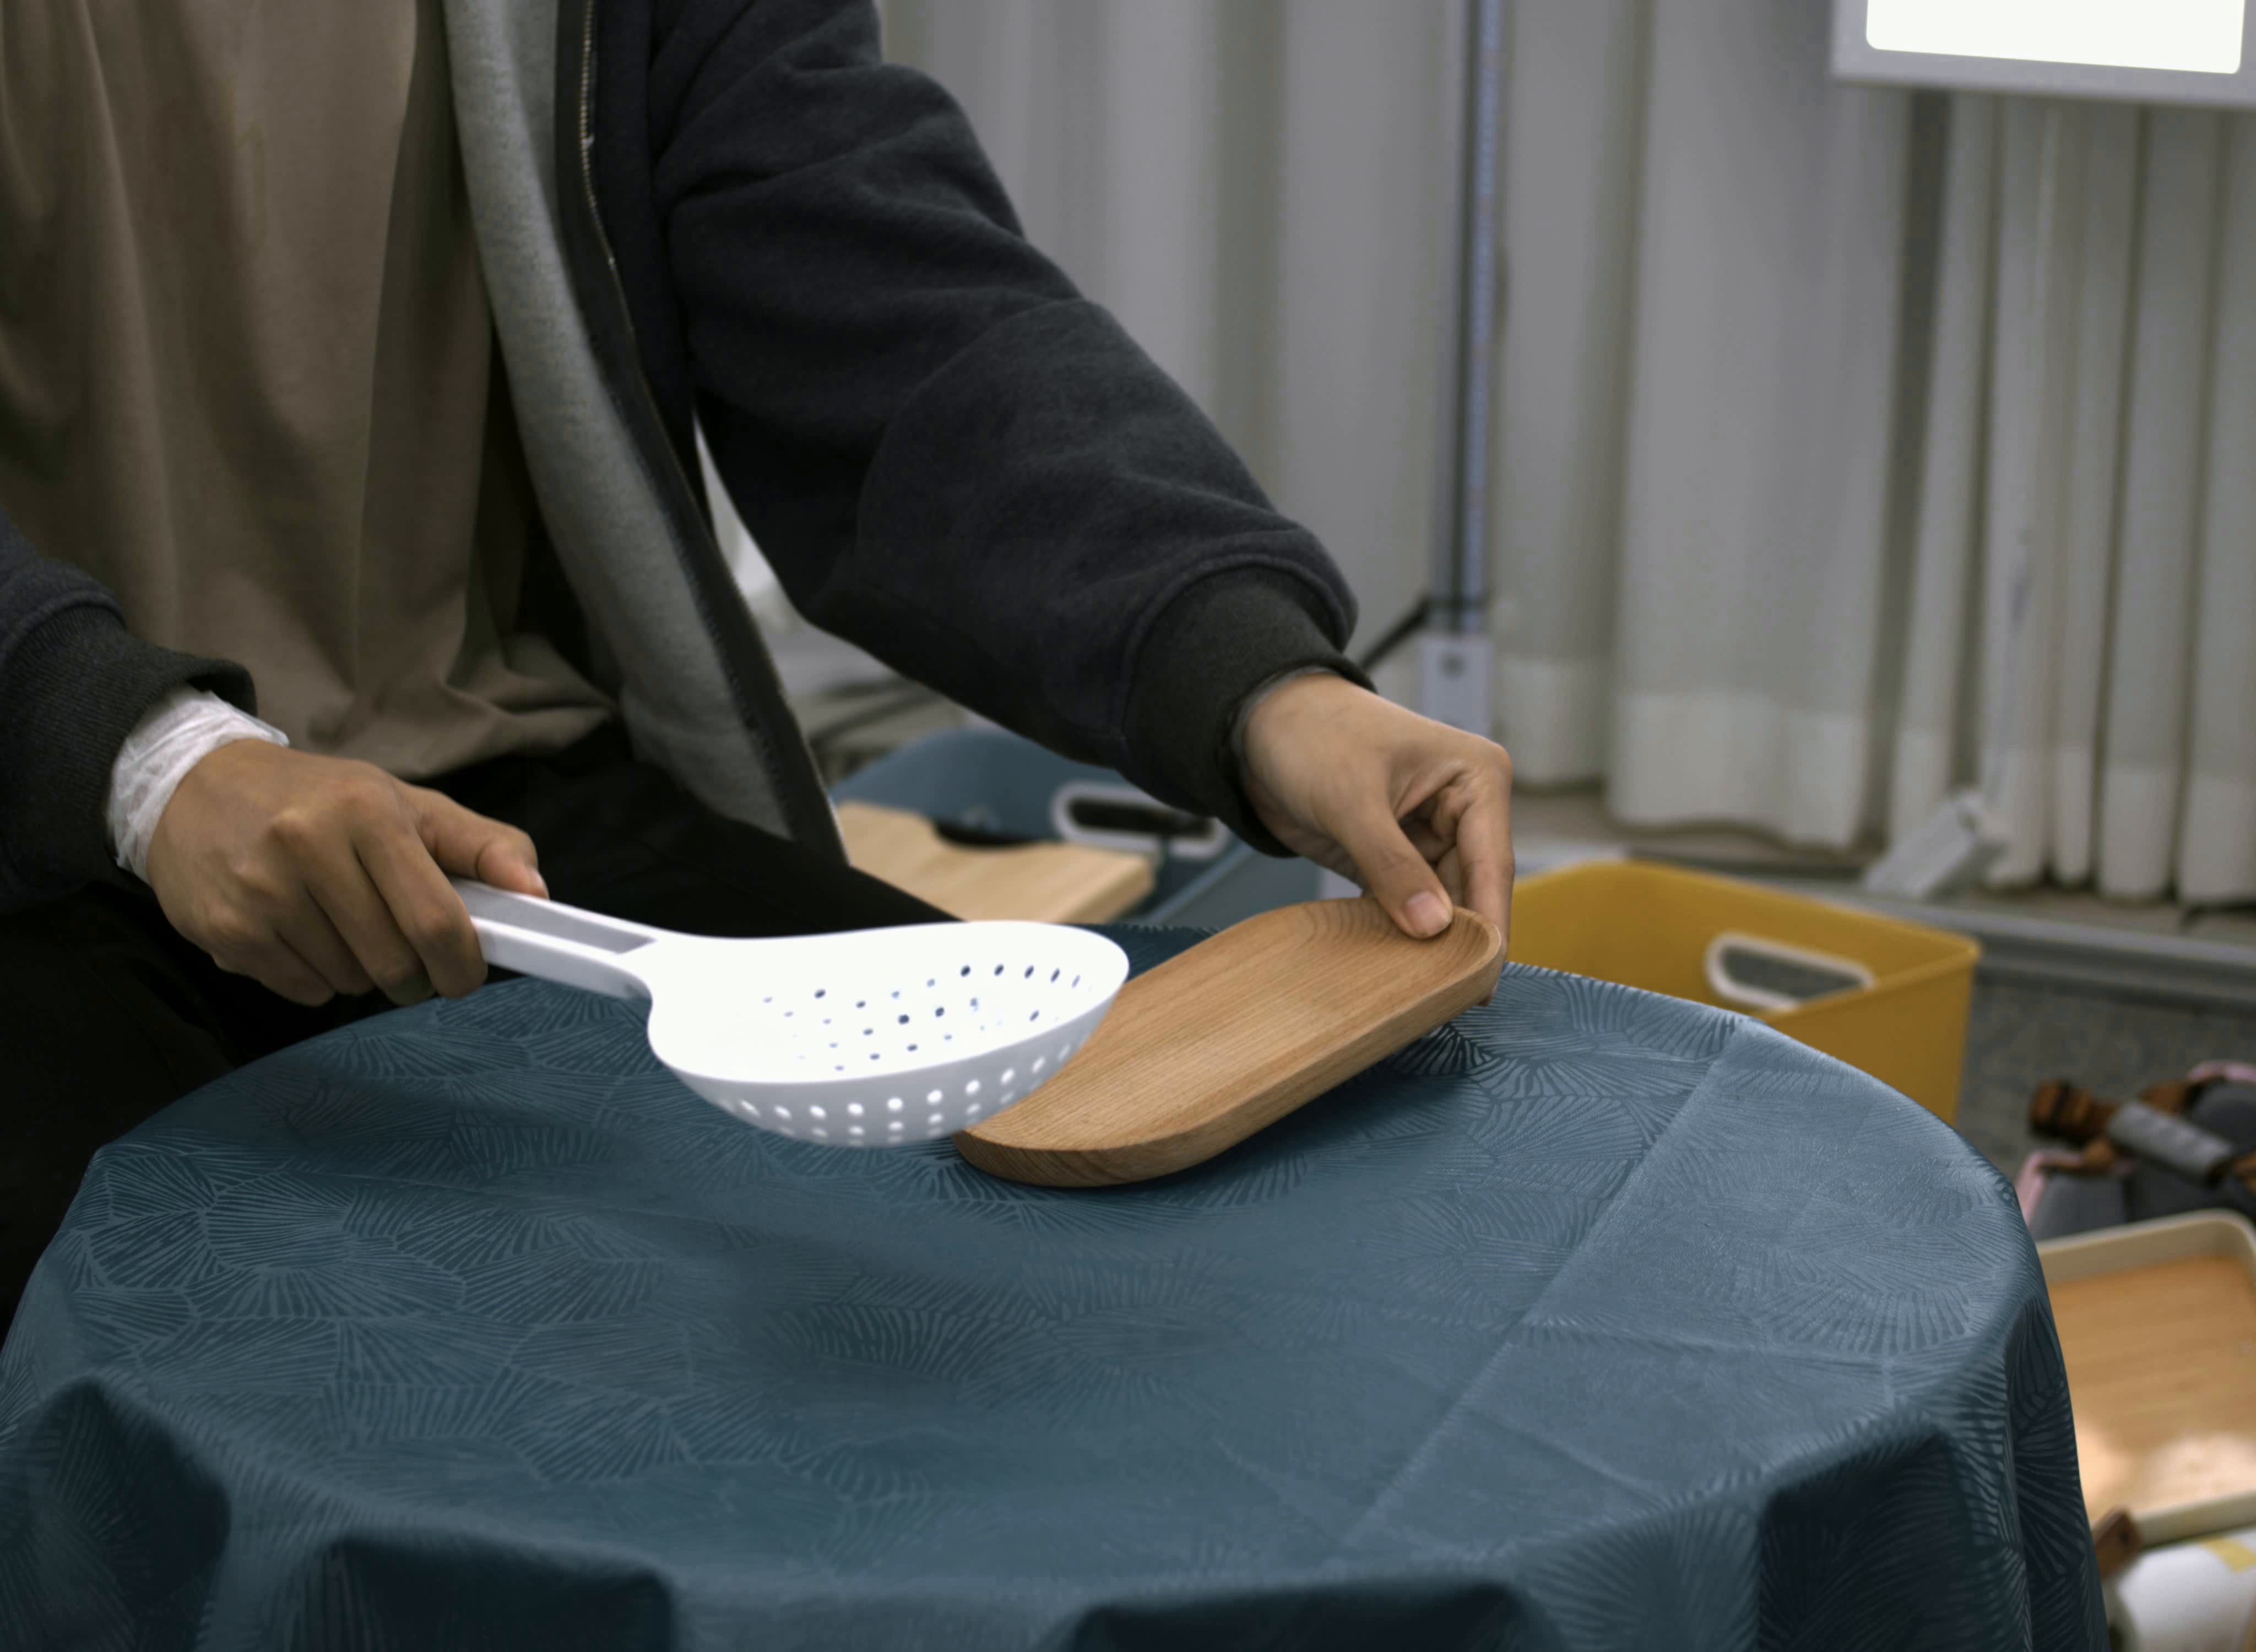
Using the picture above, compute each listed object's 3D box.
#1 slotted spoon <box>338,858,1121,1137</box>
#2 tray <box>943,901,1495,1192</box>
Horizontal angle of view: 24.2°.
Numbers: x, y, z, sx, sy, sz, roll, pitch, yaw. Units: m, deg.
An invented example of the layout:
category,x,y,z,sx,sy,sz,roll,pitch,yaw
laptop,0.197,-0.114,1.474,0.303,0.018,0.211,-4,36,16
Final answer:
category,x,y,z,sx,sy,sz,roll,pitch,yaw
slotted spoon,-0.136,0.040,1.560,0.136,0.046,0.345,-20,24,-36
tray,0.032,0.069,1.704,0.100,0.020,0.232,9,25,37
